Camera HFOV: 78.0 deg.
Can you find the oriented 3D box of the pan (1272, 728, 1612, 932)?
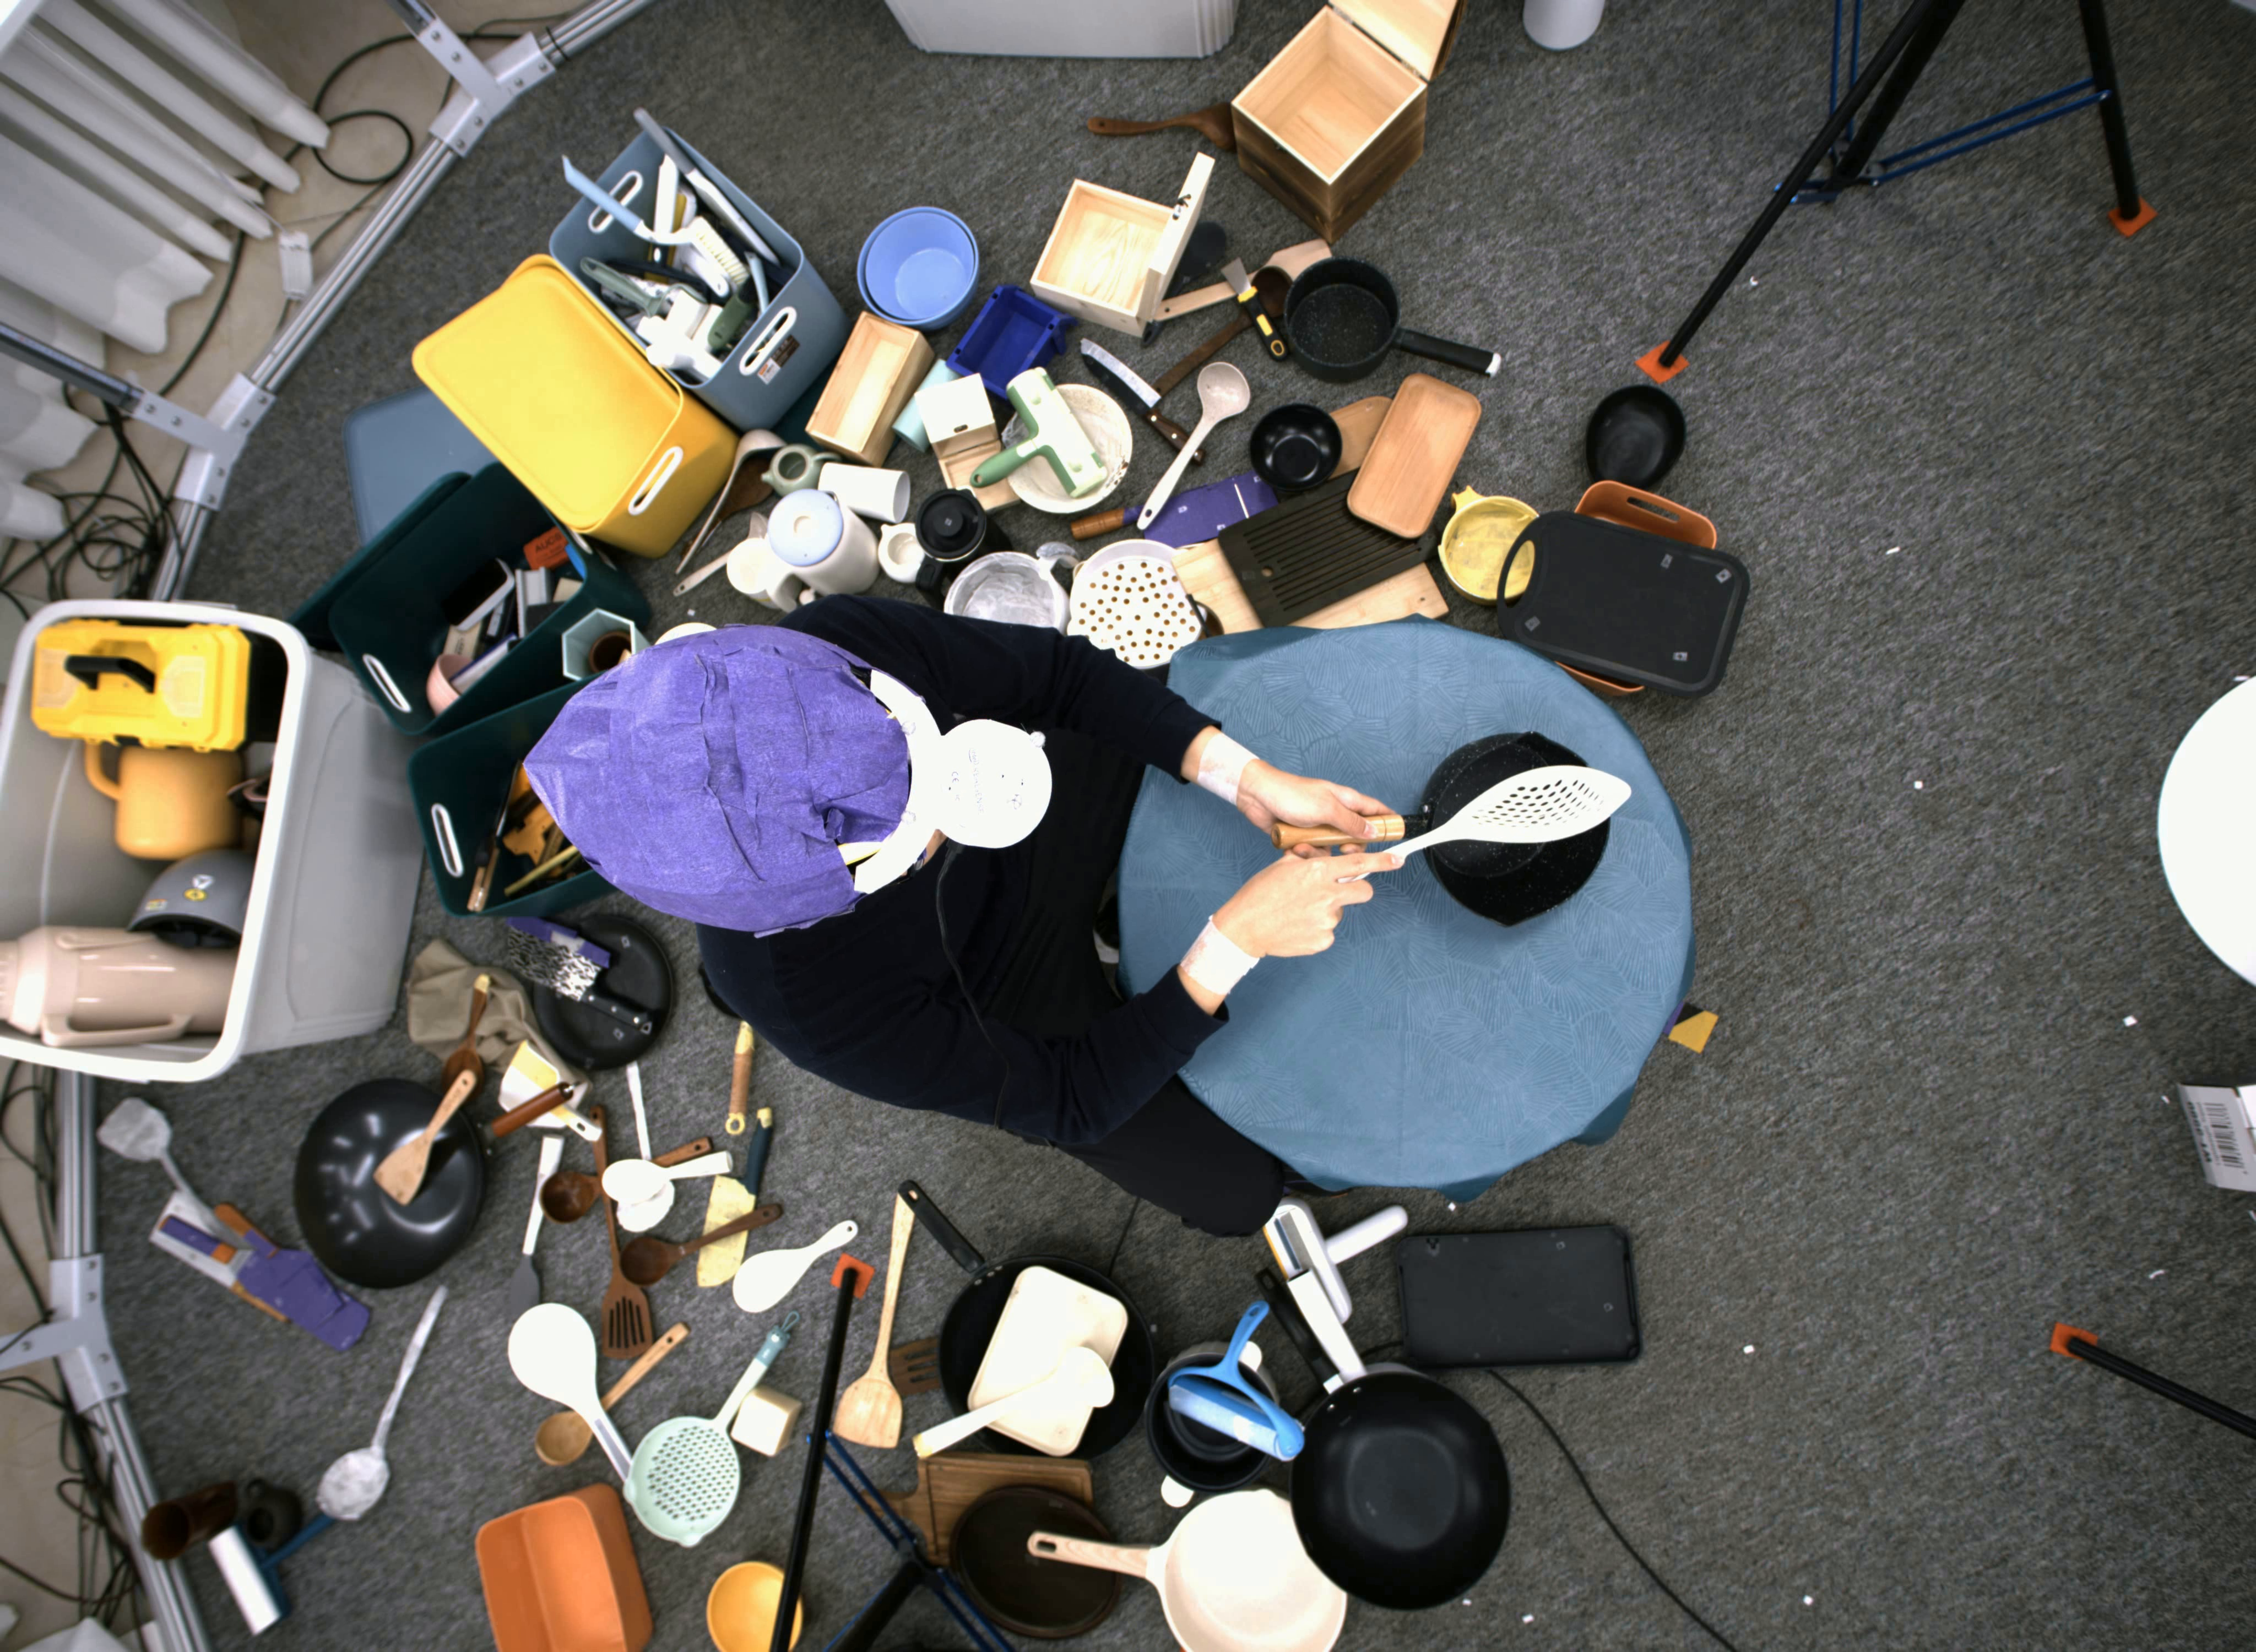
[{"bbox_3d":[0.300,-0.003,1.355,0.342,0.106,0.211,-2,110,-7],"label":"pan"}]

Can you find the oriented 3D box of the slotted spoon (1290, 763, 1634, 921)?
[{"bbox_3d":[0.301,0.014,1.265,0.346,0.135,0.051,-16,112,-13],"label":"slotted spoon"}]
